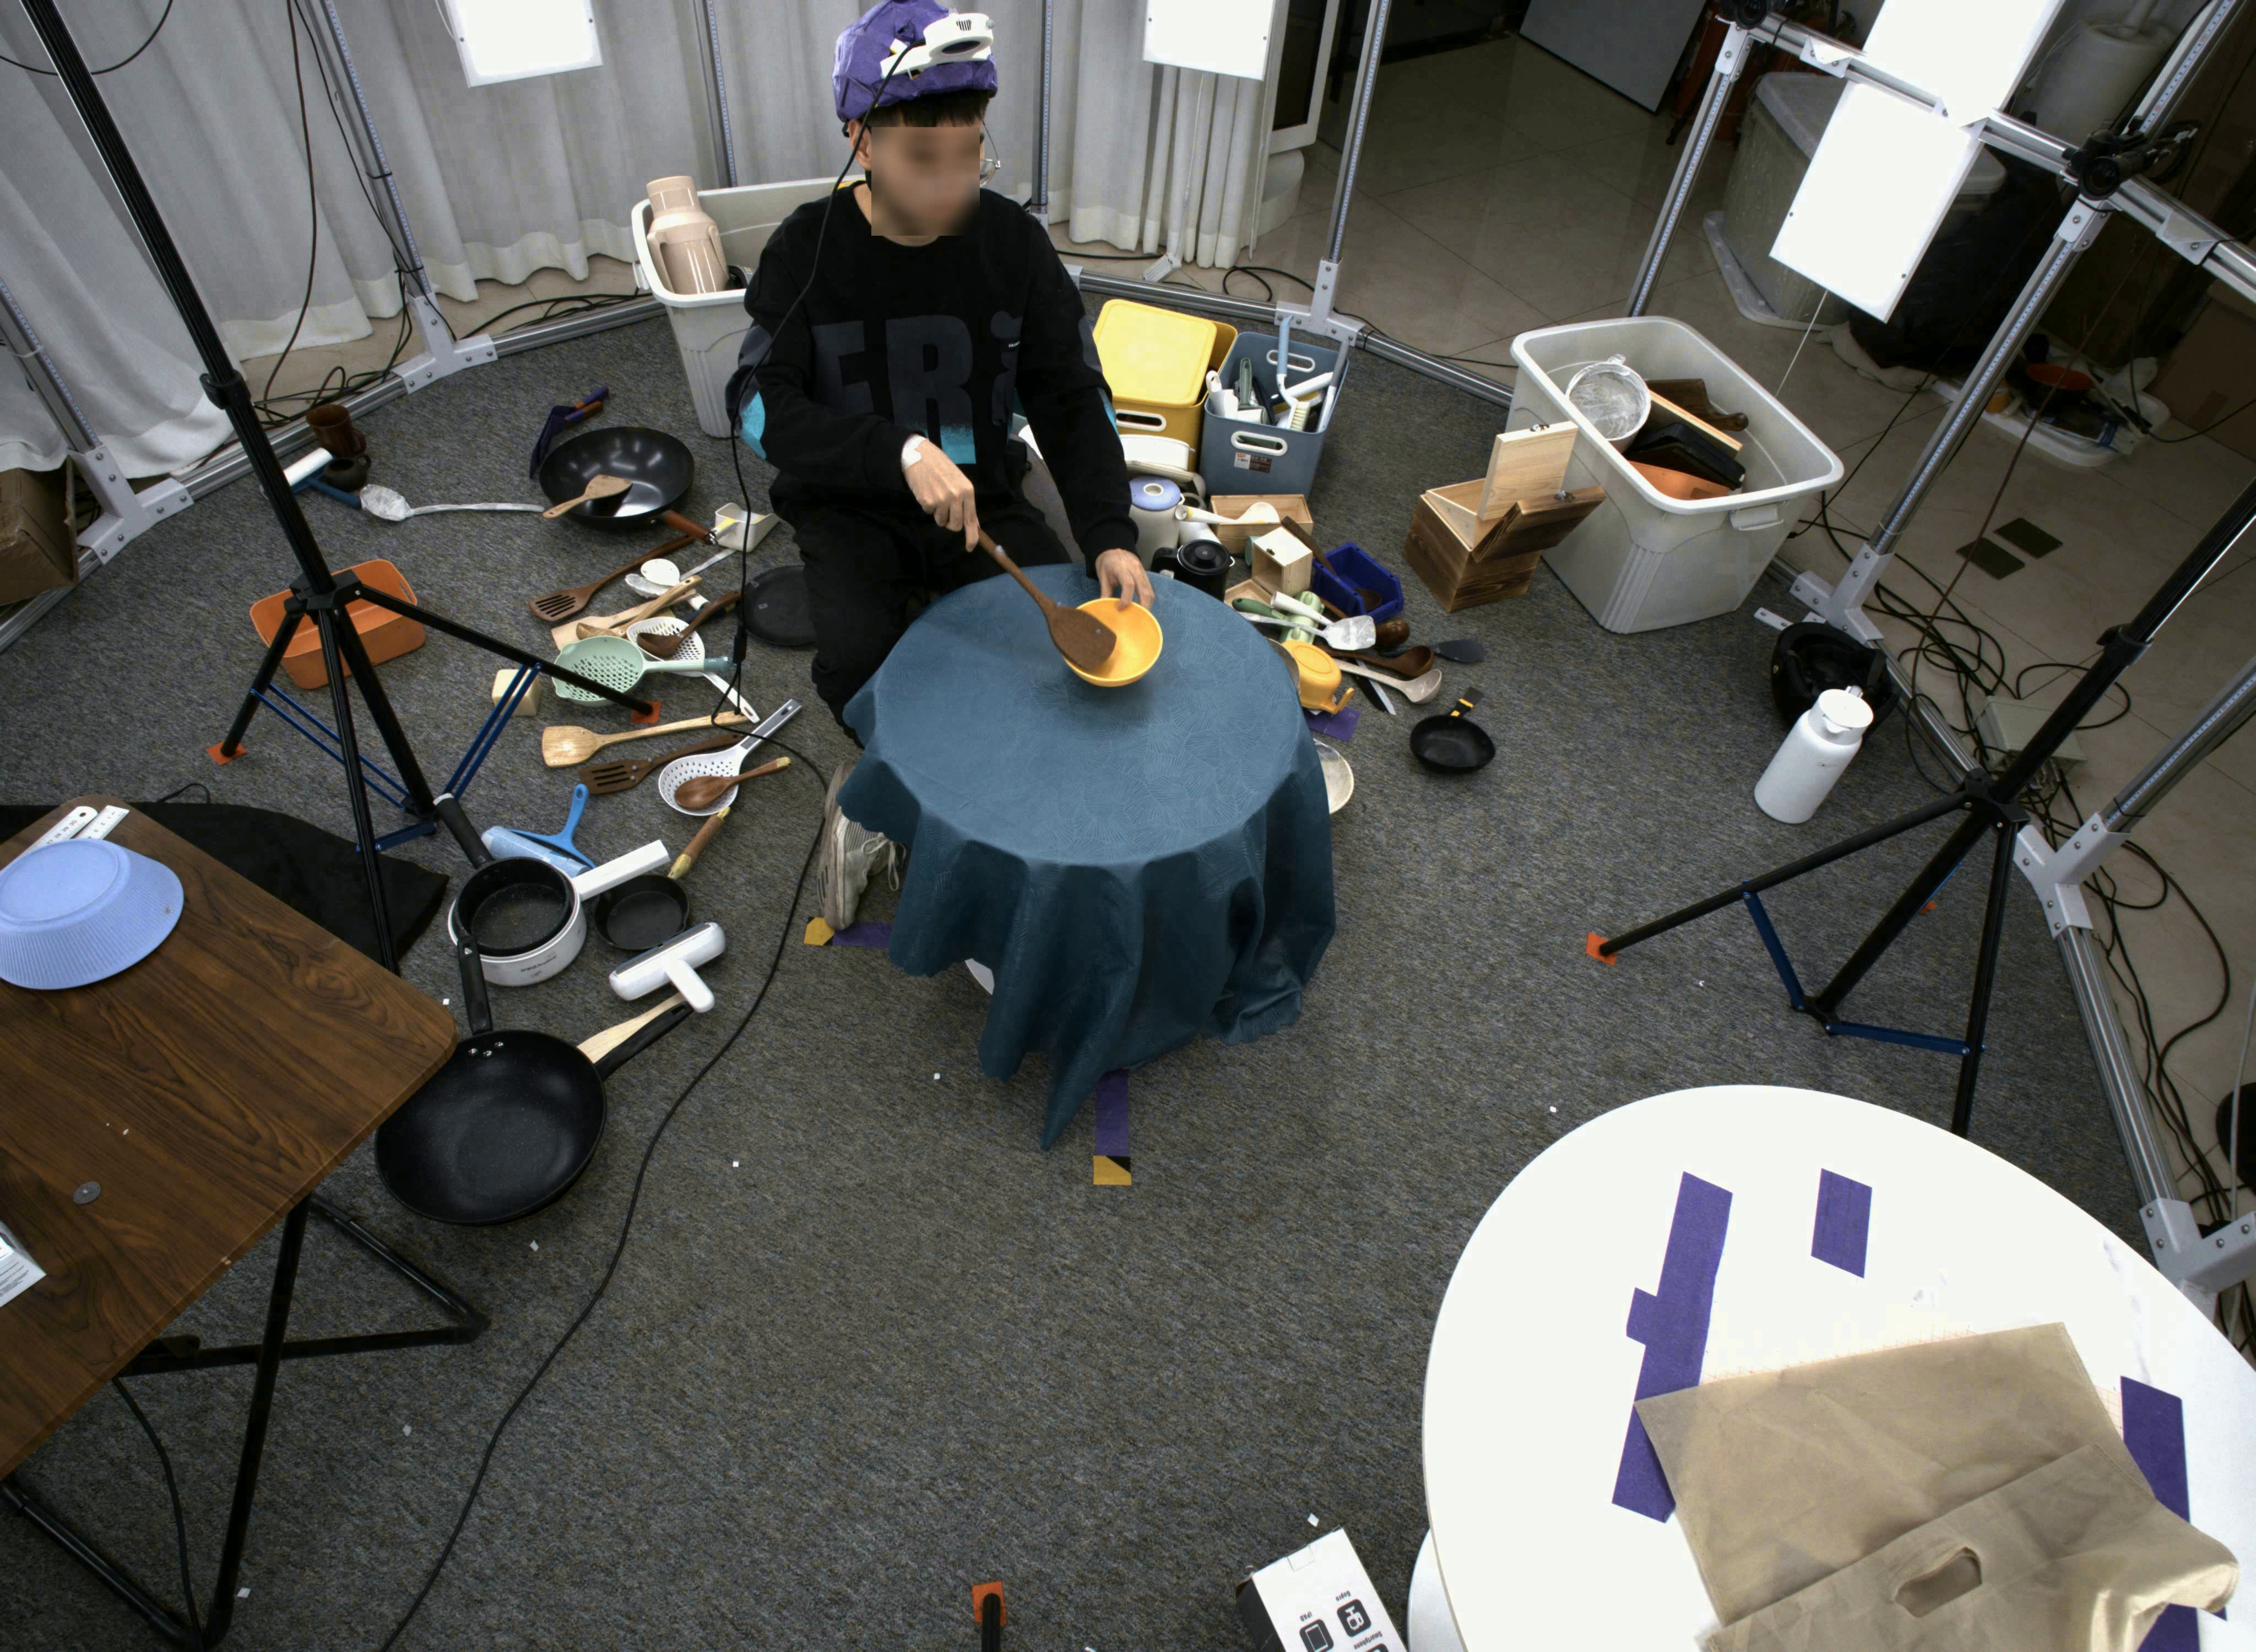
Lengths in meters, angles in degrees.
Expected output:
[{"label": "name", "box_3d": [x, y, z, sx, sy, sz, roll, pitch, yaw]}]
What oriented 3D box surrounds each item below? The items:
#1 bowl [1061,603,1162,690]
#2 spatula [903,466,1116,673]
[{"label": "bowl", "box_3d": [-0.025, -0.246, 1.841, 0.145, 0.059, 0.148, 1, 58, -2]}, {"label": "spatula", "box_3d": [-0.169, -0.363, 1.802, 0.384, 0.015, 0.097, 44, 49, -5]}]
